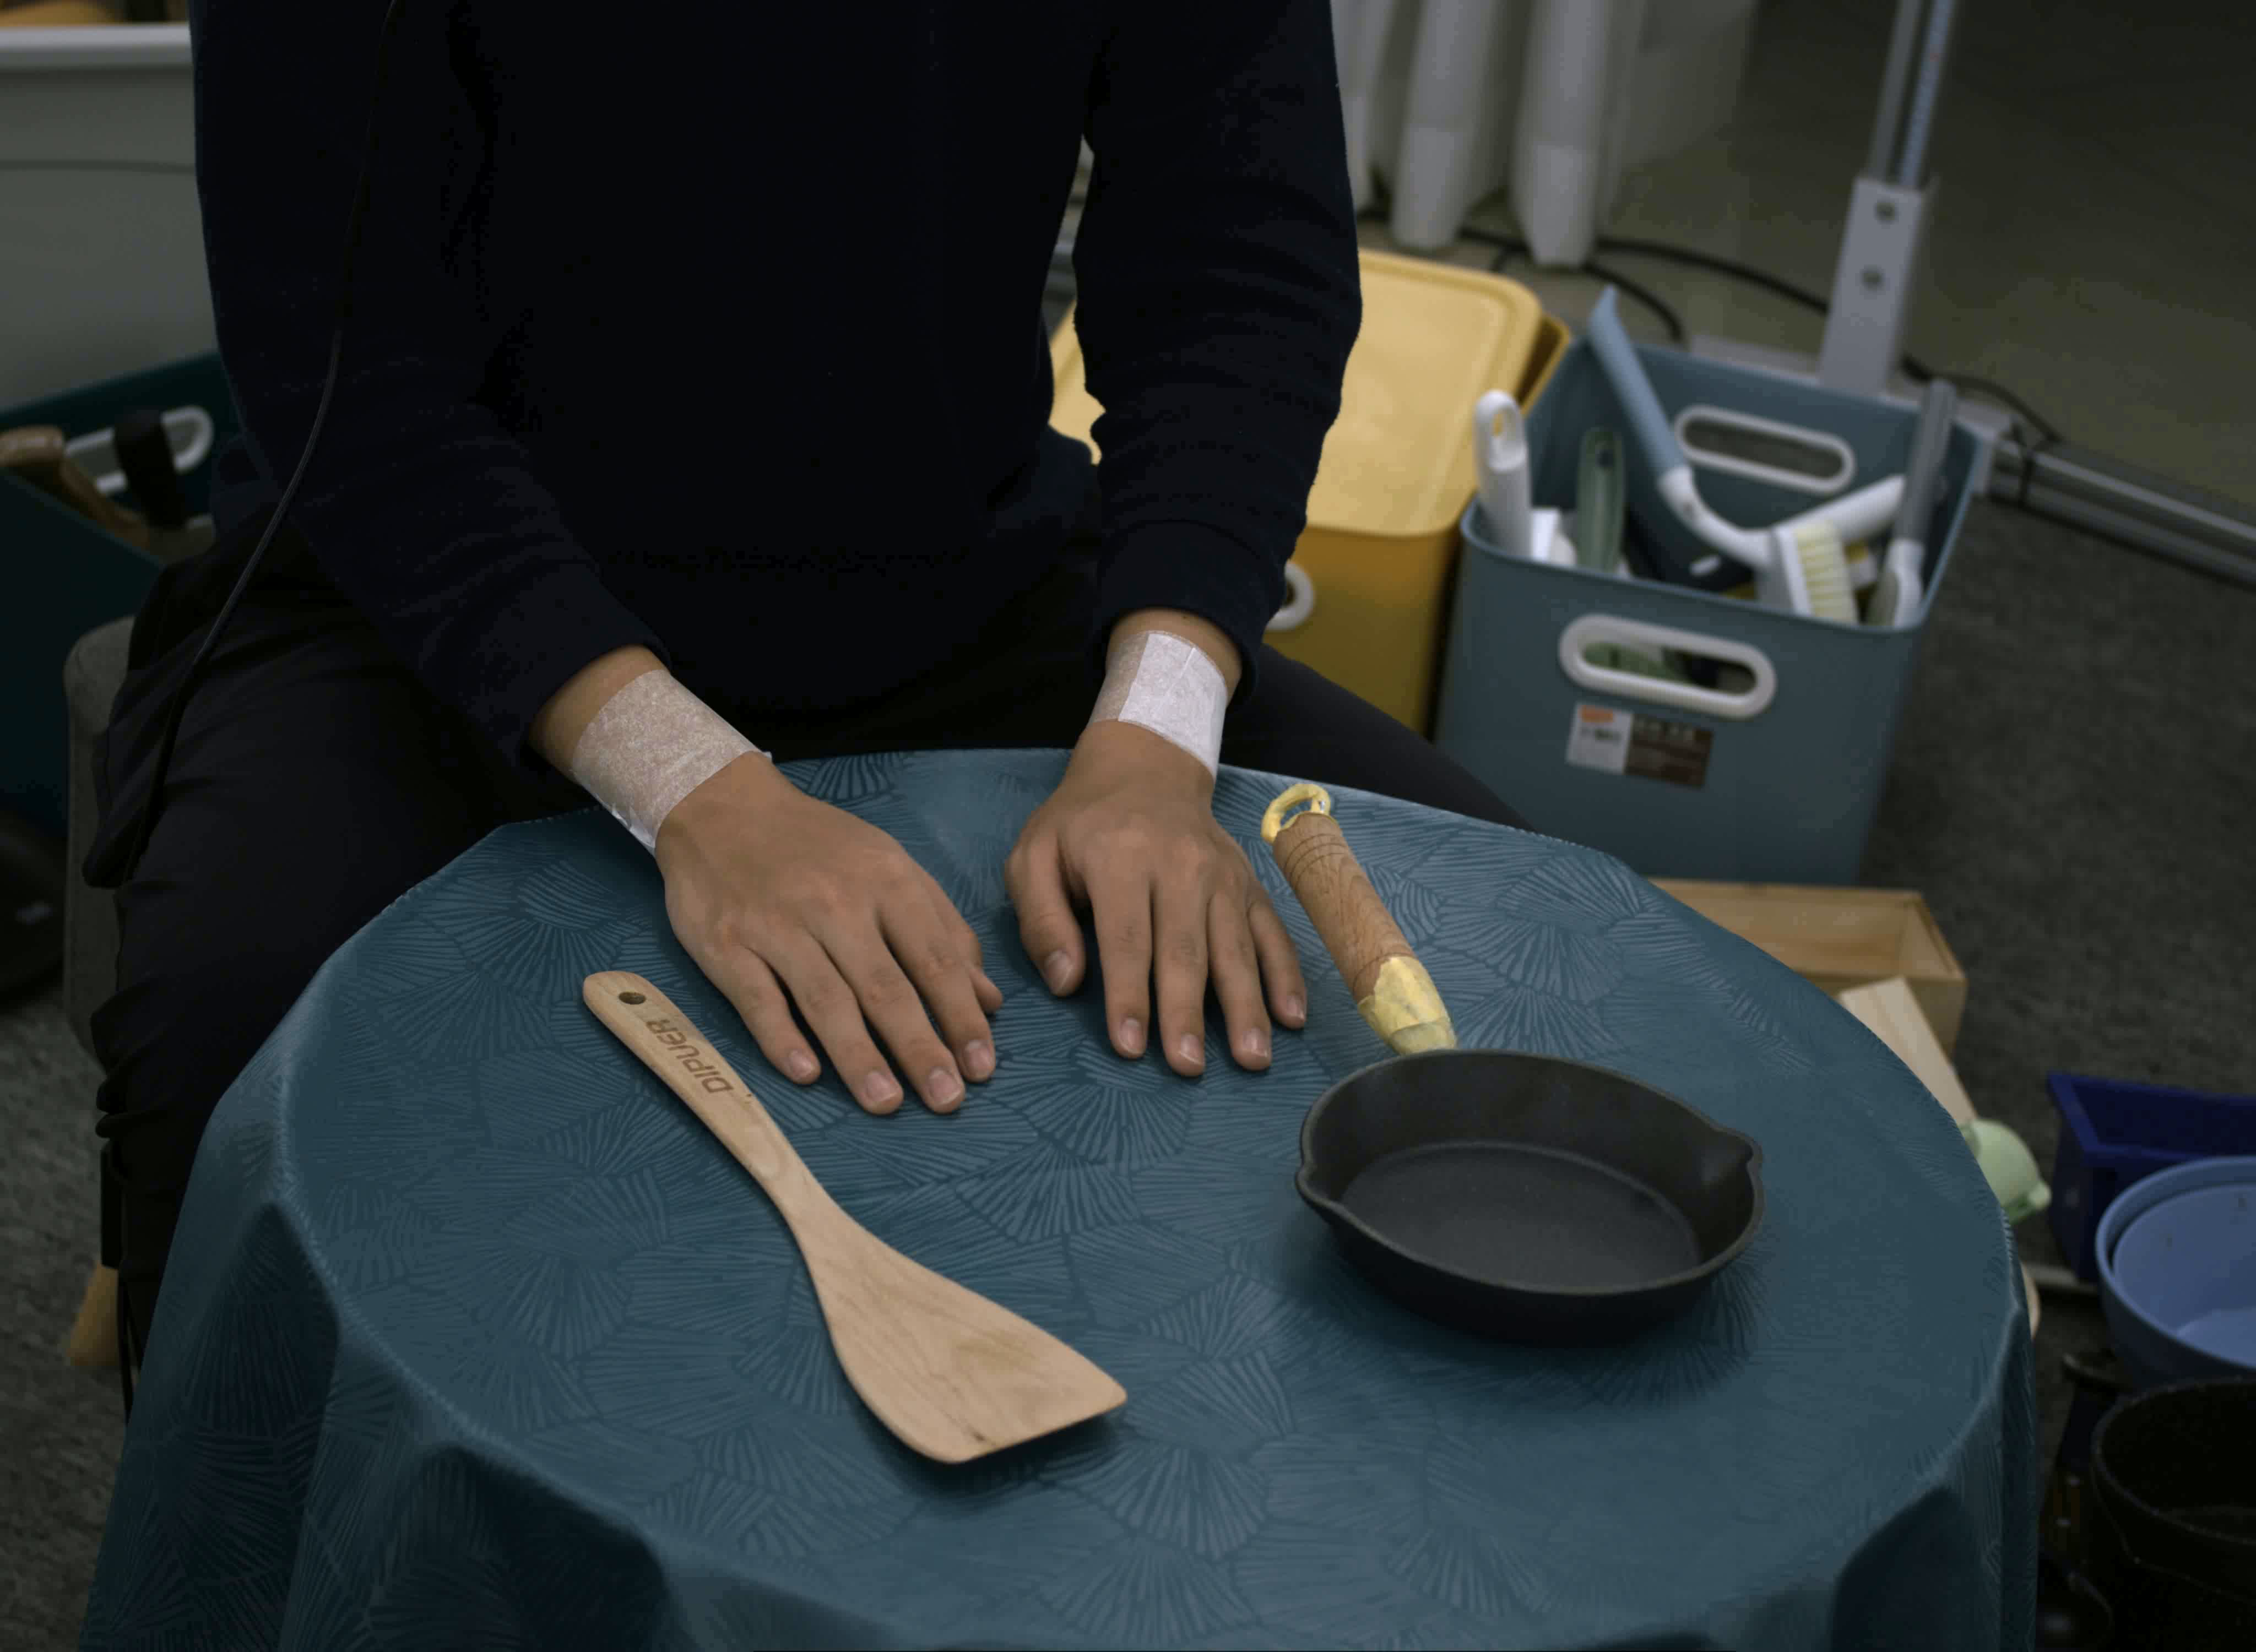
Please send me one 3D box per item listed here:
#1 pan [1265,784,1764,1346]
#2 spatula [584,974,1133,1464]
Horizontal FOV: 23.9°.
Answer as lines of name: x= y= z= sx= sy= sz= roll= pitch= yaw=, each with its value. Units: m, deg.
pan: x=0.109 y=0.081 z=1.856 sx=0.168 sy=0.049 sz=0.327 roll=-3 pitch=30 yaw=-18
spatula: x=-0.104 y=0.123 z=1.762 sx=0.079 sy=0.016 sz=0.330 roll=-9 pitch=31 yaw=-29
